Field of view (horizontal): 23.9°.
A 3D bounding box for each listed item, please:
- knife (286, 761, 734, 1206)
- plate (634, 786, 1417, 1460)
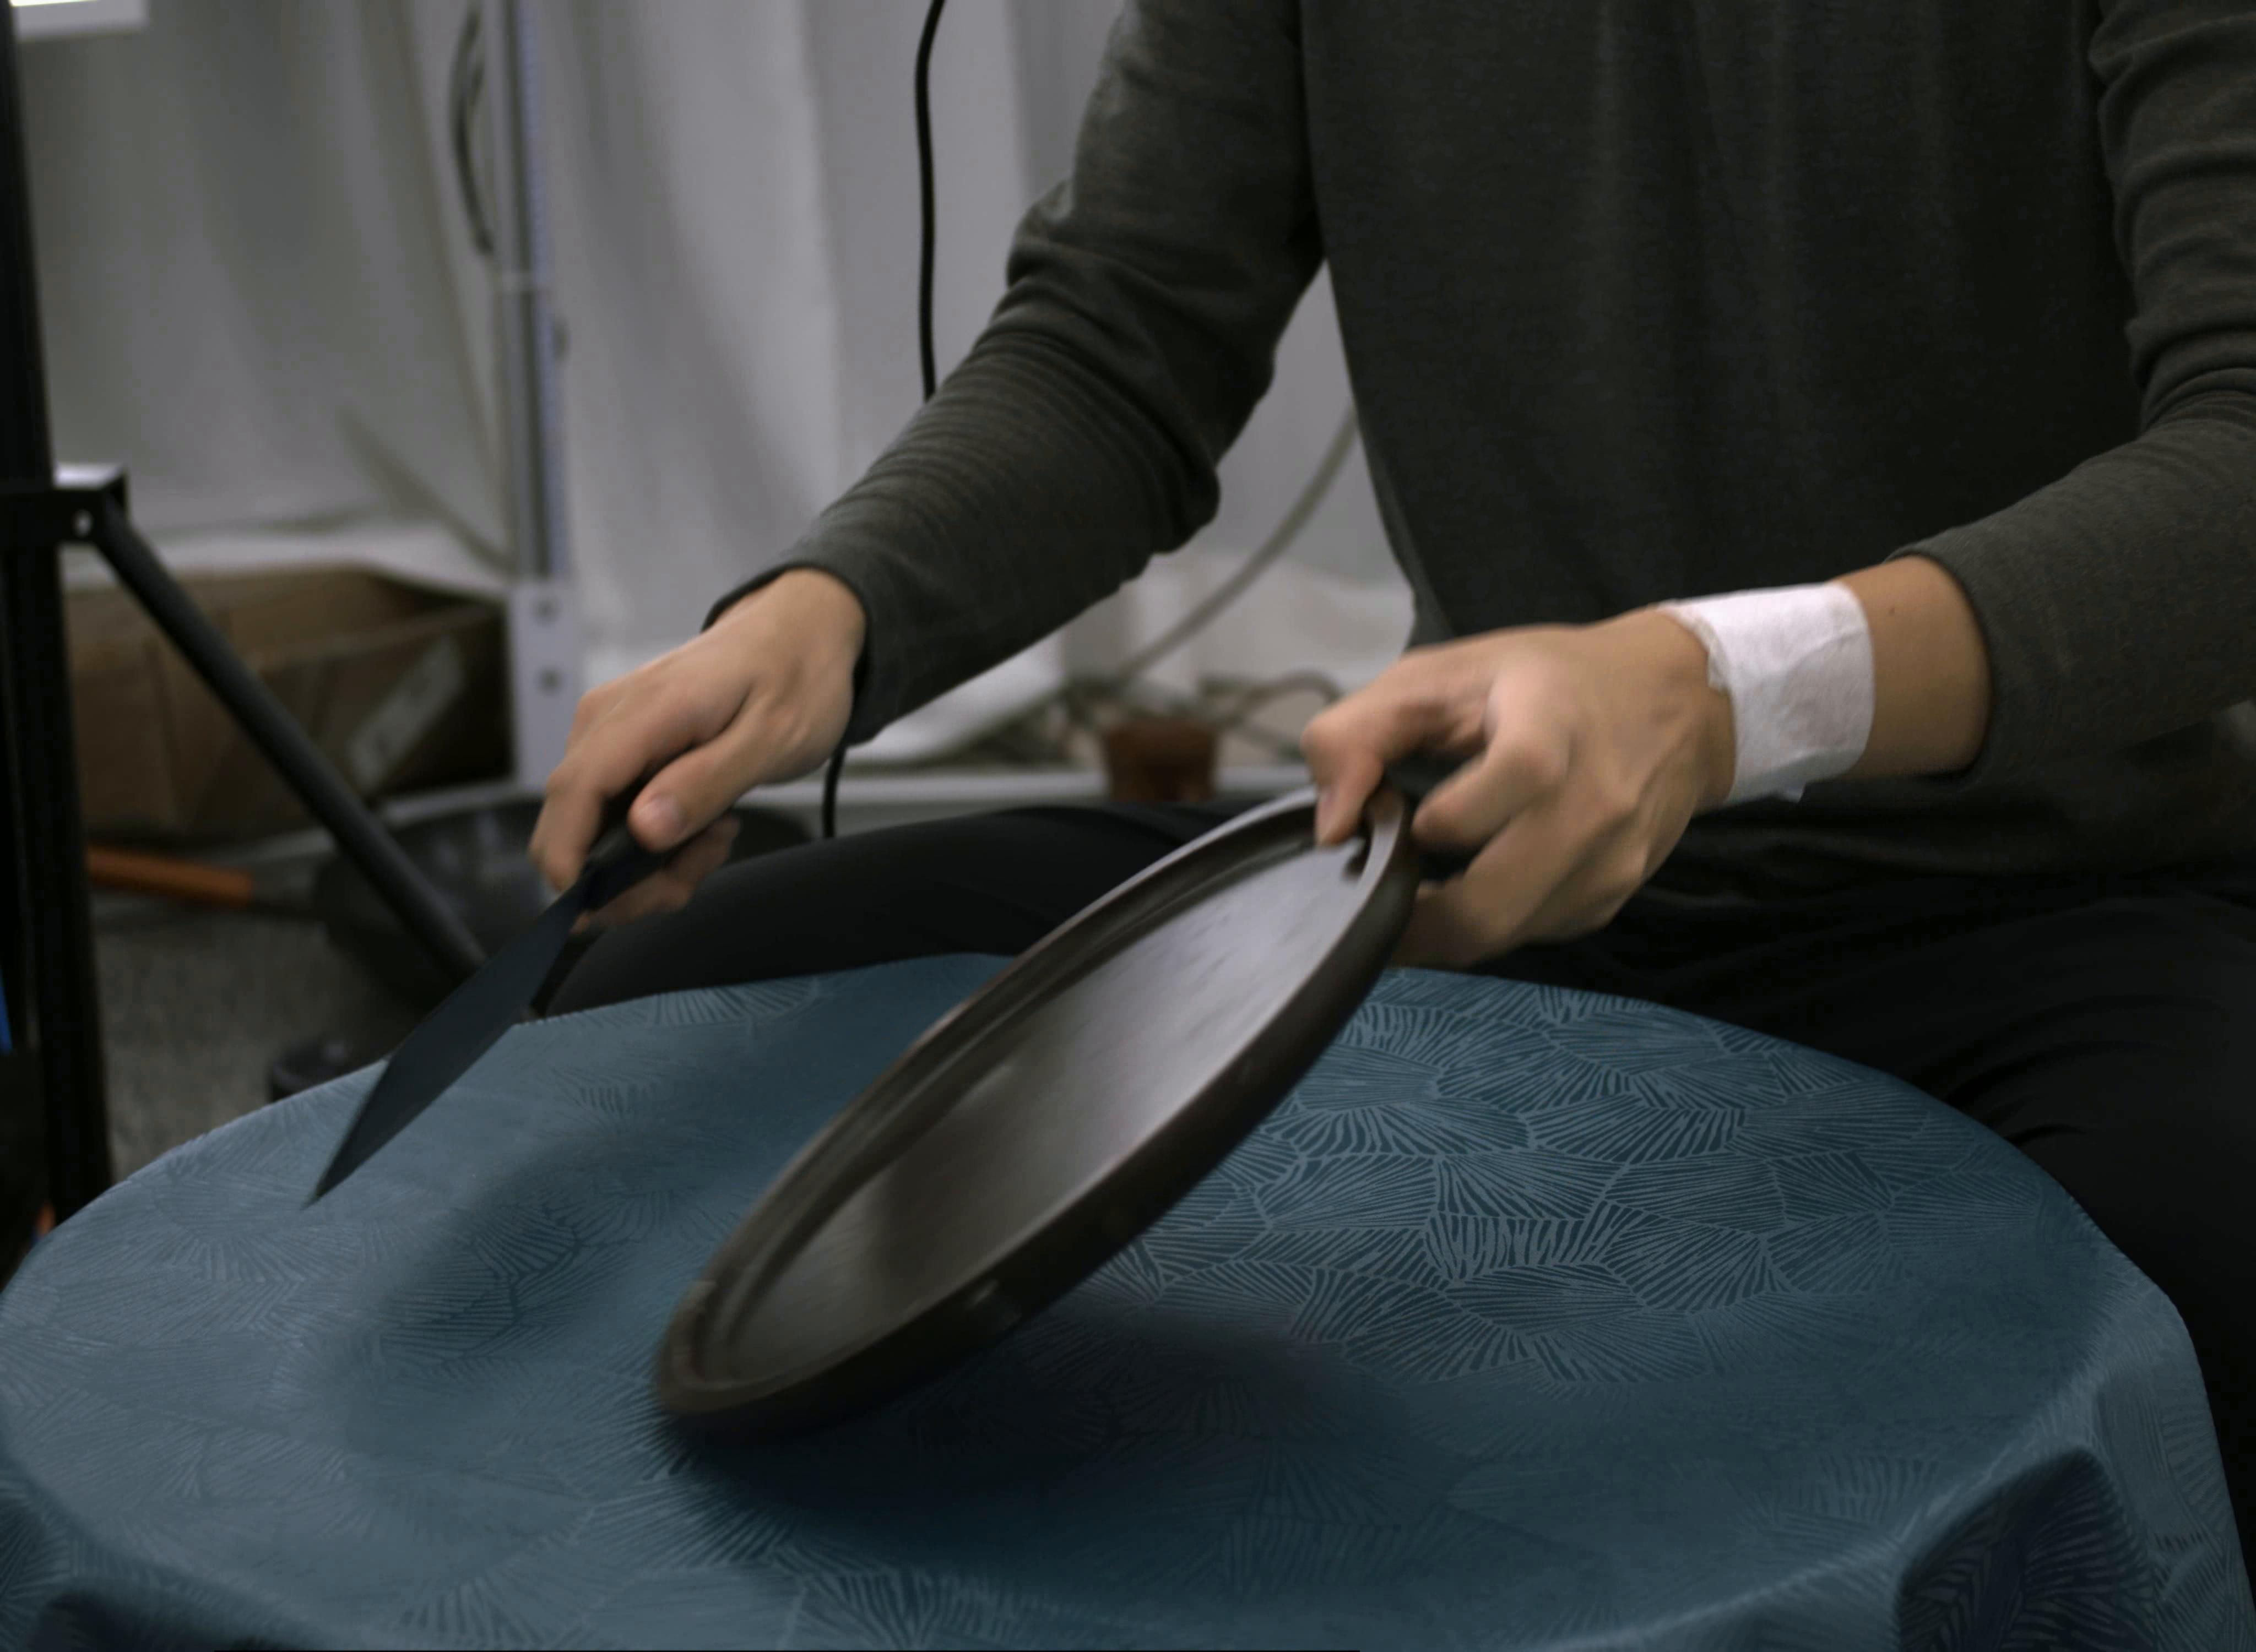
[{"bbox_3d":[-0.179,0.041,1.596,0.021,0.081,0.300,34,26,3],"label":"knife"},{"bbox_3d":[-0.025,0.078,1.398,0.255,0.029,0.256,-38,13,8],"label":"plate"}]
